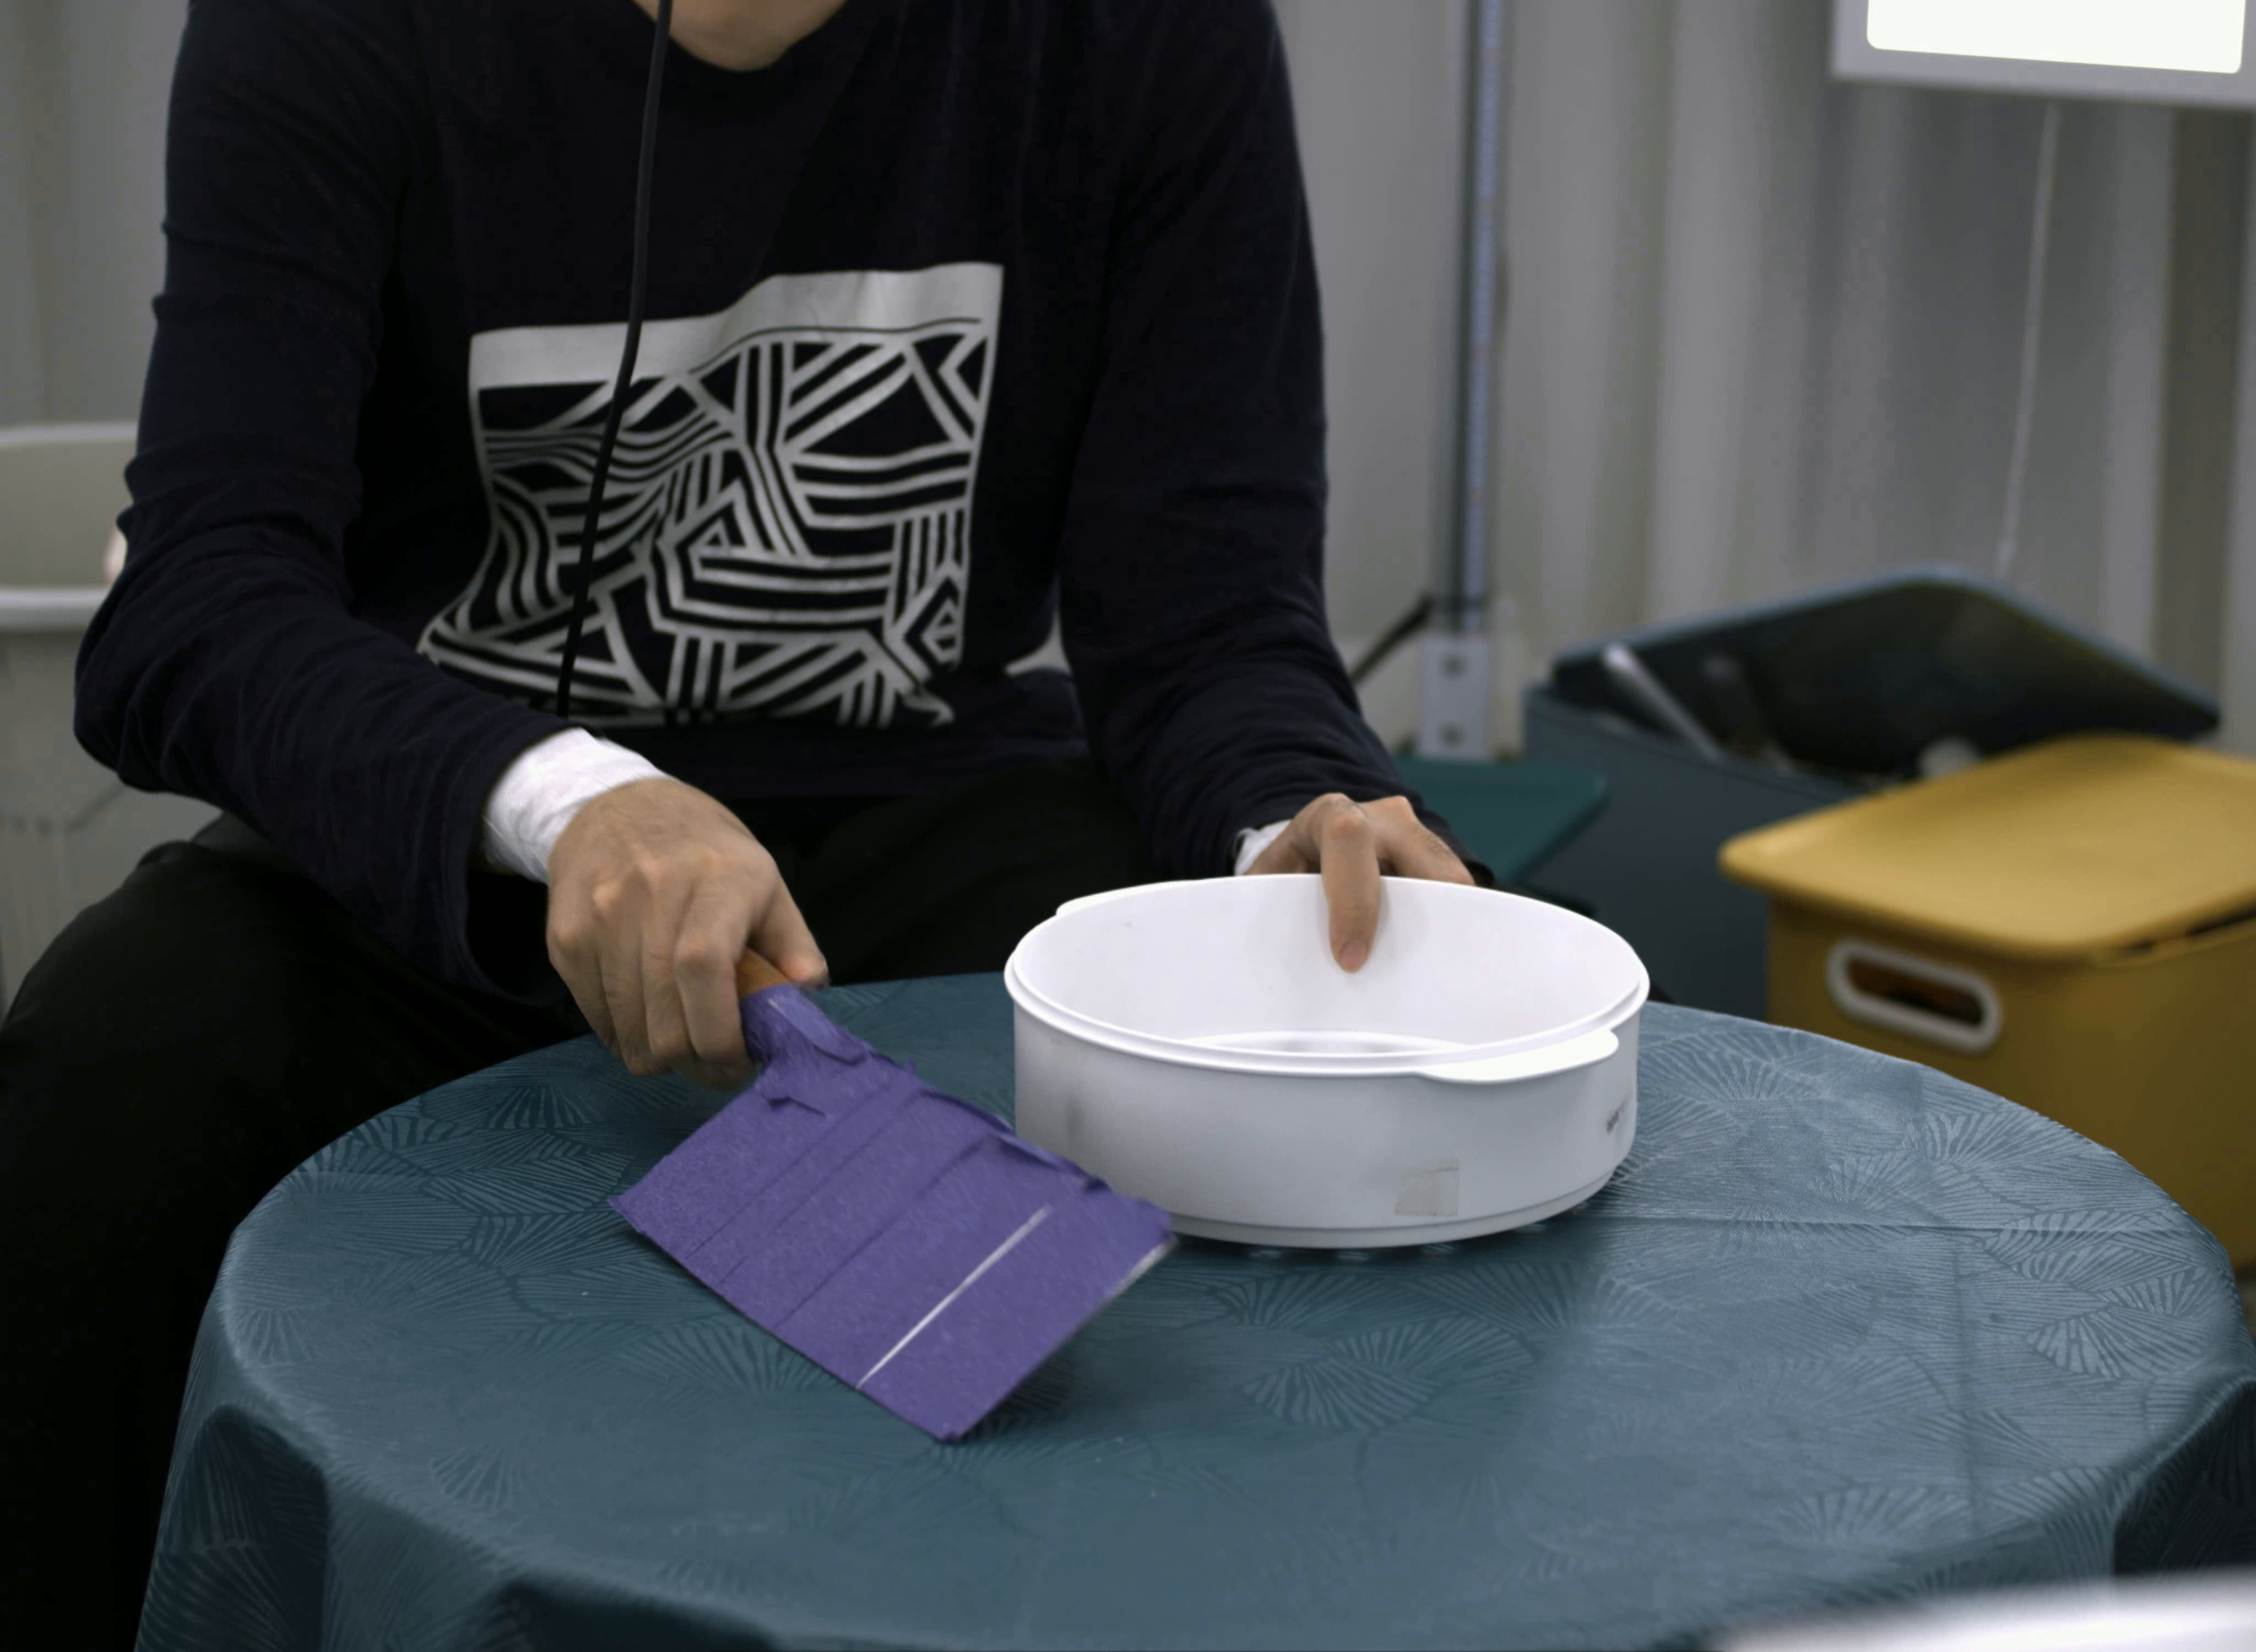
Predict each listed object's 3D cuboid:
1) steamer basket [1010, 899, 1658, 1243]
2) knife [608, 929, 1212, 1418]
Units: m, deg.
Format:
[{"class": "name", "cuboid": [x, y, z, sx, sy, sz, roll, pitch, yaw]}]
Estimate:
[{"class": "steamer basket", "cuboid": [0.064, 0.076, 1.639, 0.203, 0.070, 0.227, -8, 15, -34]}, {"class": "knife", "cuboid": [-0.096, 0.098, 1.553, 0.104, 0.032, 0.311, -37, 30, -19]}]
